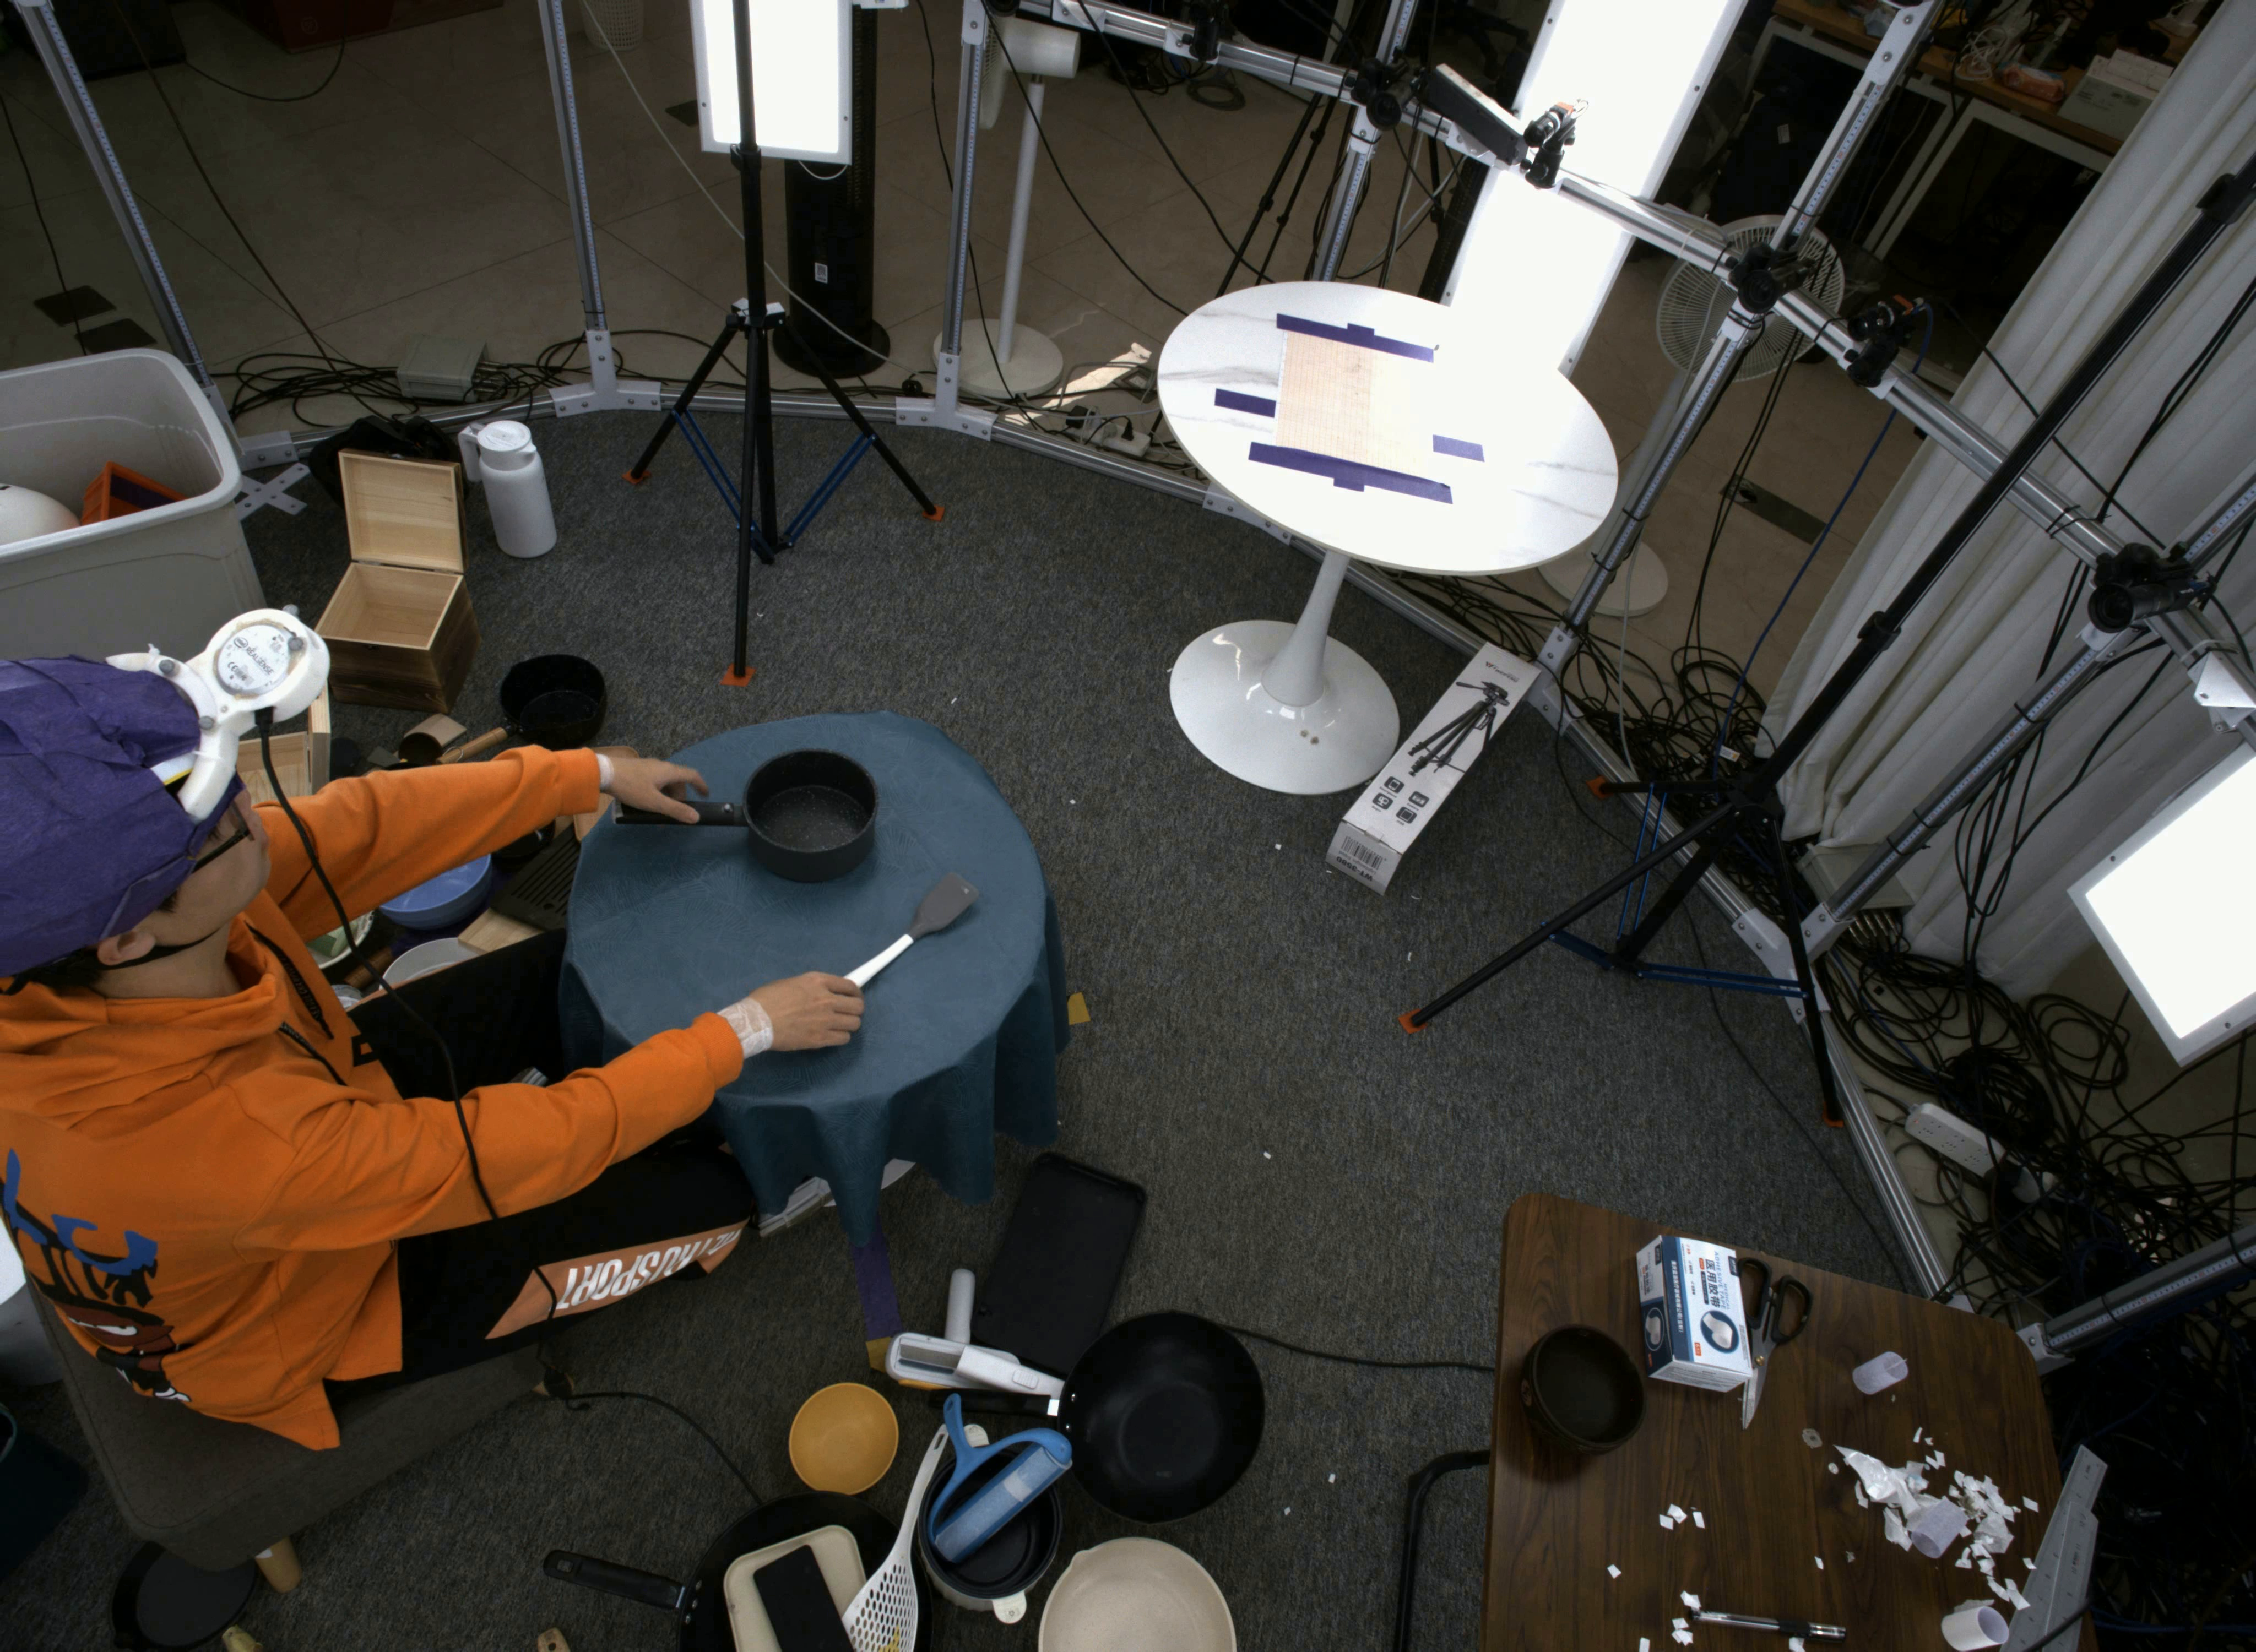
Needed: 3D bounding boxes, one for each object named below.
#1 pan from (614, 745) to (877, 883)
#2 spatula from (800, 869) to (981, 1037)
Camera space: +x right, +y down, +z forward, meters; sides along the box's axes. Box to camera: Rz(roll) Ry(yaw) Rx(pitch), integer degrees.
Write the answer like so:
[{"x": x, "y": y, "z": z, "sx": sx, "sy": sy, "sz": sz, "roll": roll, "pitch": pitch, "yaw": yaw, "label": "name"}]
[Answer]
[{"x": -0.488, "y": -0.013, "z": 1.652, "sx": 0.330, "sy": 0.088, "sz": 0.168, "roll": -1, "pitch": 53, "yaw": -18, "label": "pan"}, {"x": -0.293, "y": 0.153, "z": 1.614, "sx": 0.057, "sy": 0.033, "sz": 0.287, "roll": 34, "pitch": 53, "yaw": 16, "label": "spatula"}]
